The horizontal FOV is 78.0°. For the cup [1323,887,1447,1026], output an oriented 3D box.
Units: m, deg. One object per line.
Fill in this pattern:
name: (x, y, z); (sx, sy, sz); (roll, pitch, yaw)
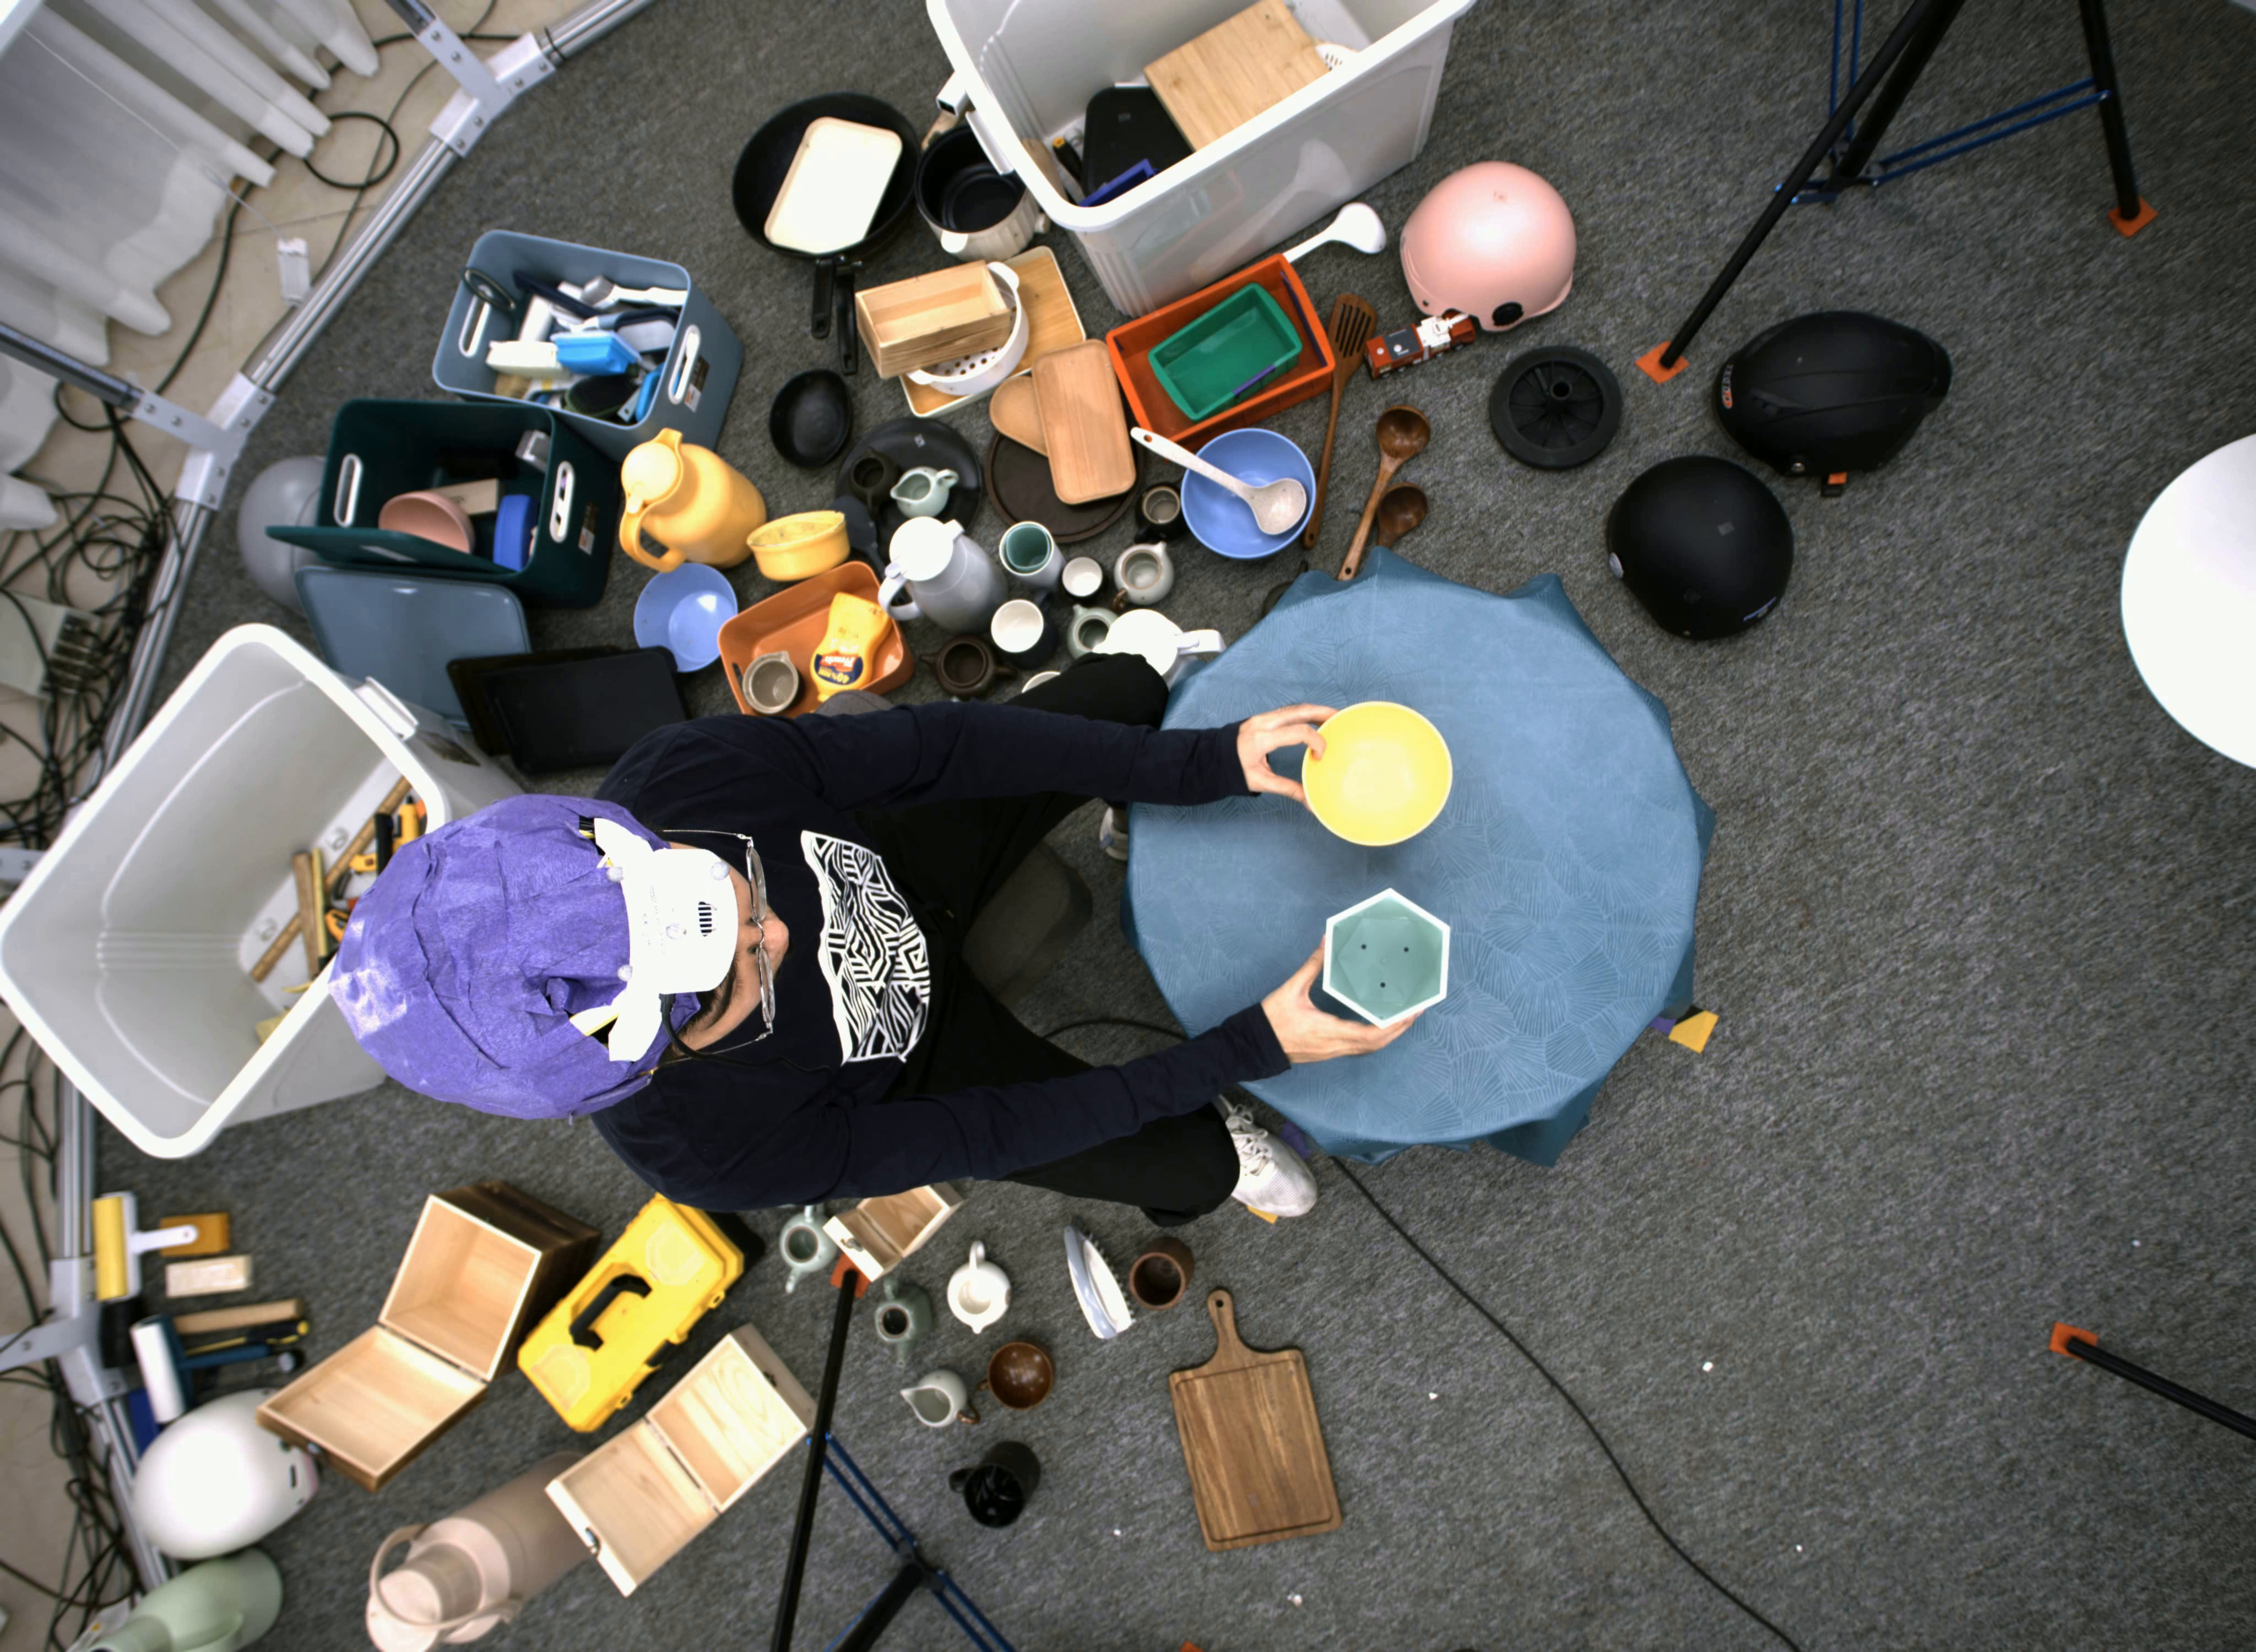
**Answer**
cup: (0.257, 0.131, 1.375); (0.115, 0.163, 0.130); (0, 84, 12)

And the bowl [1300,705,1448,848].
bowl: (0.247, -0.045, 1.379); (0.146, 0.060, 0.144); (-3, 79, 13)
